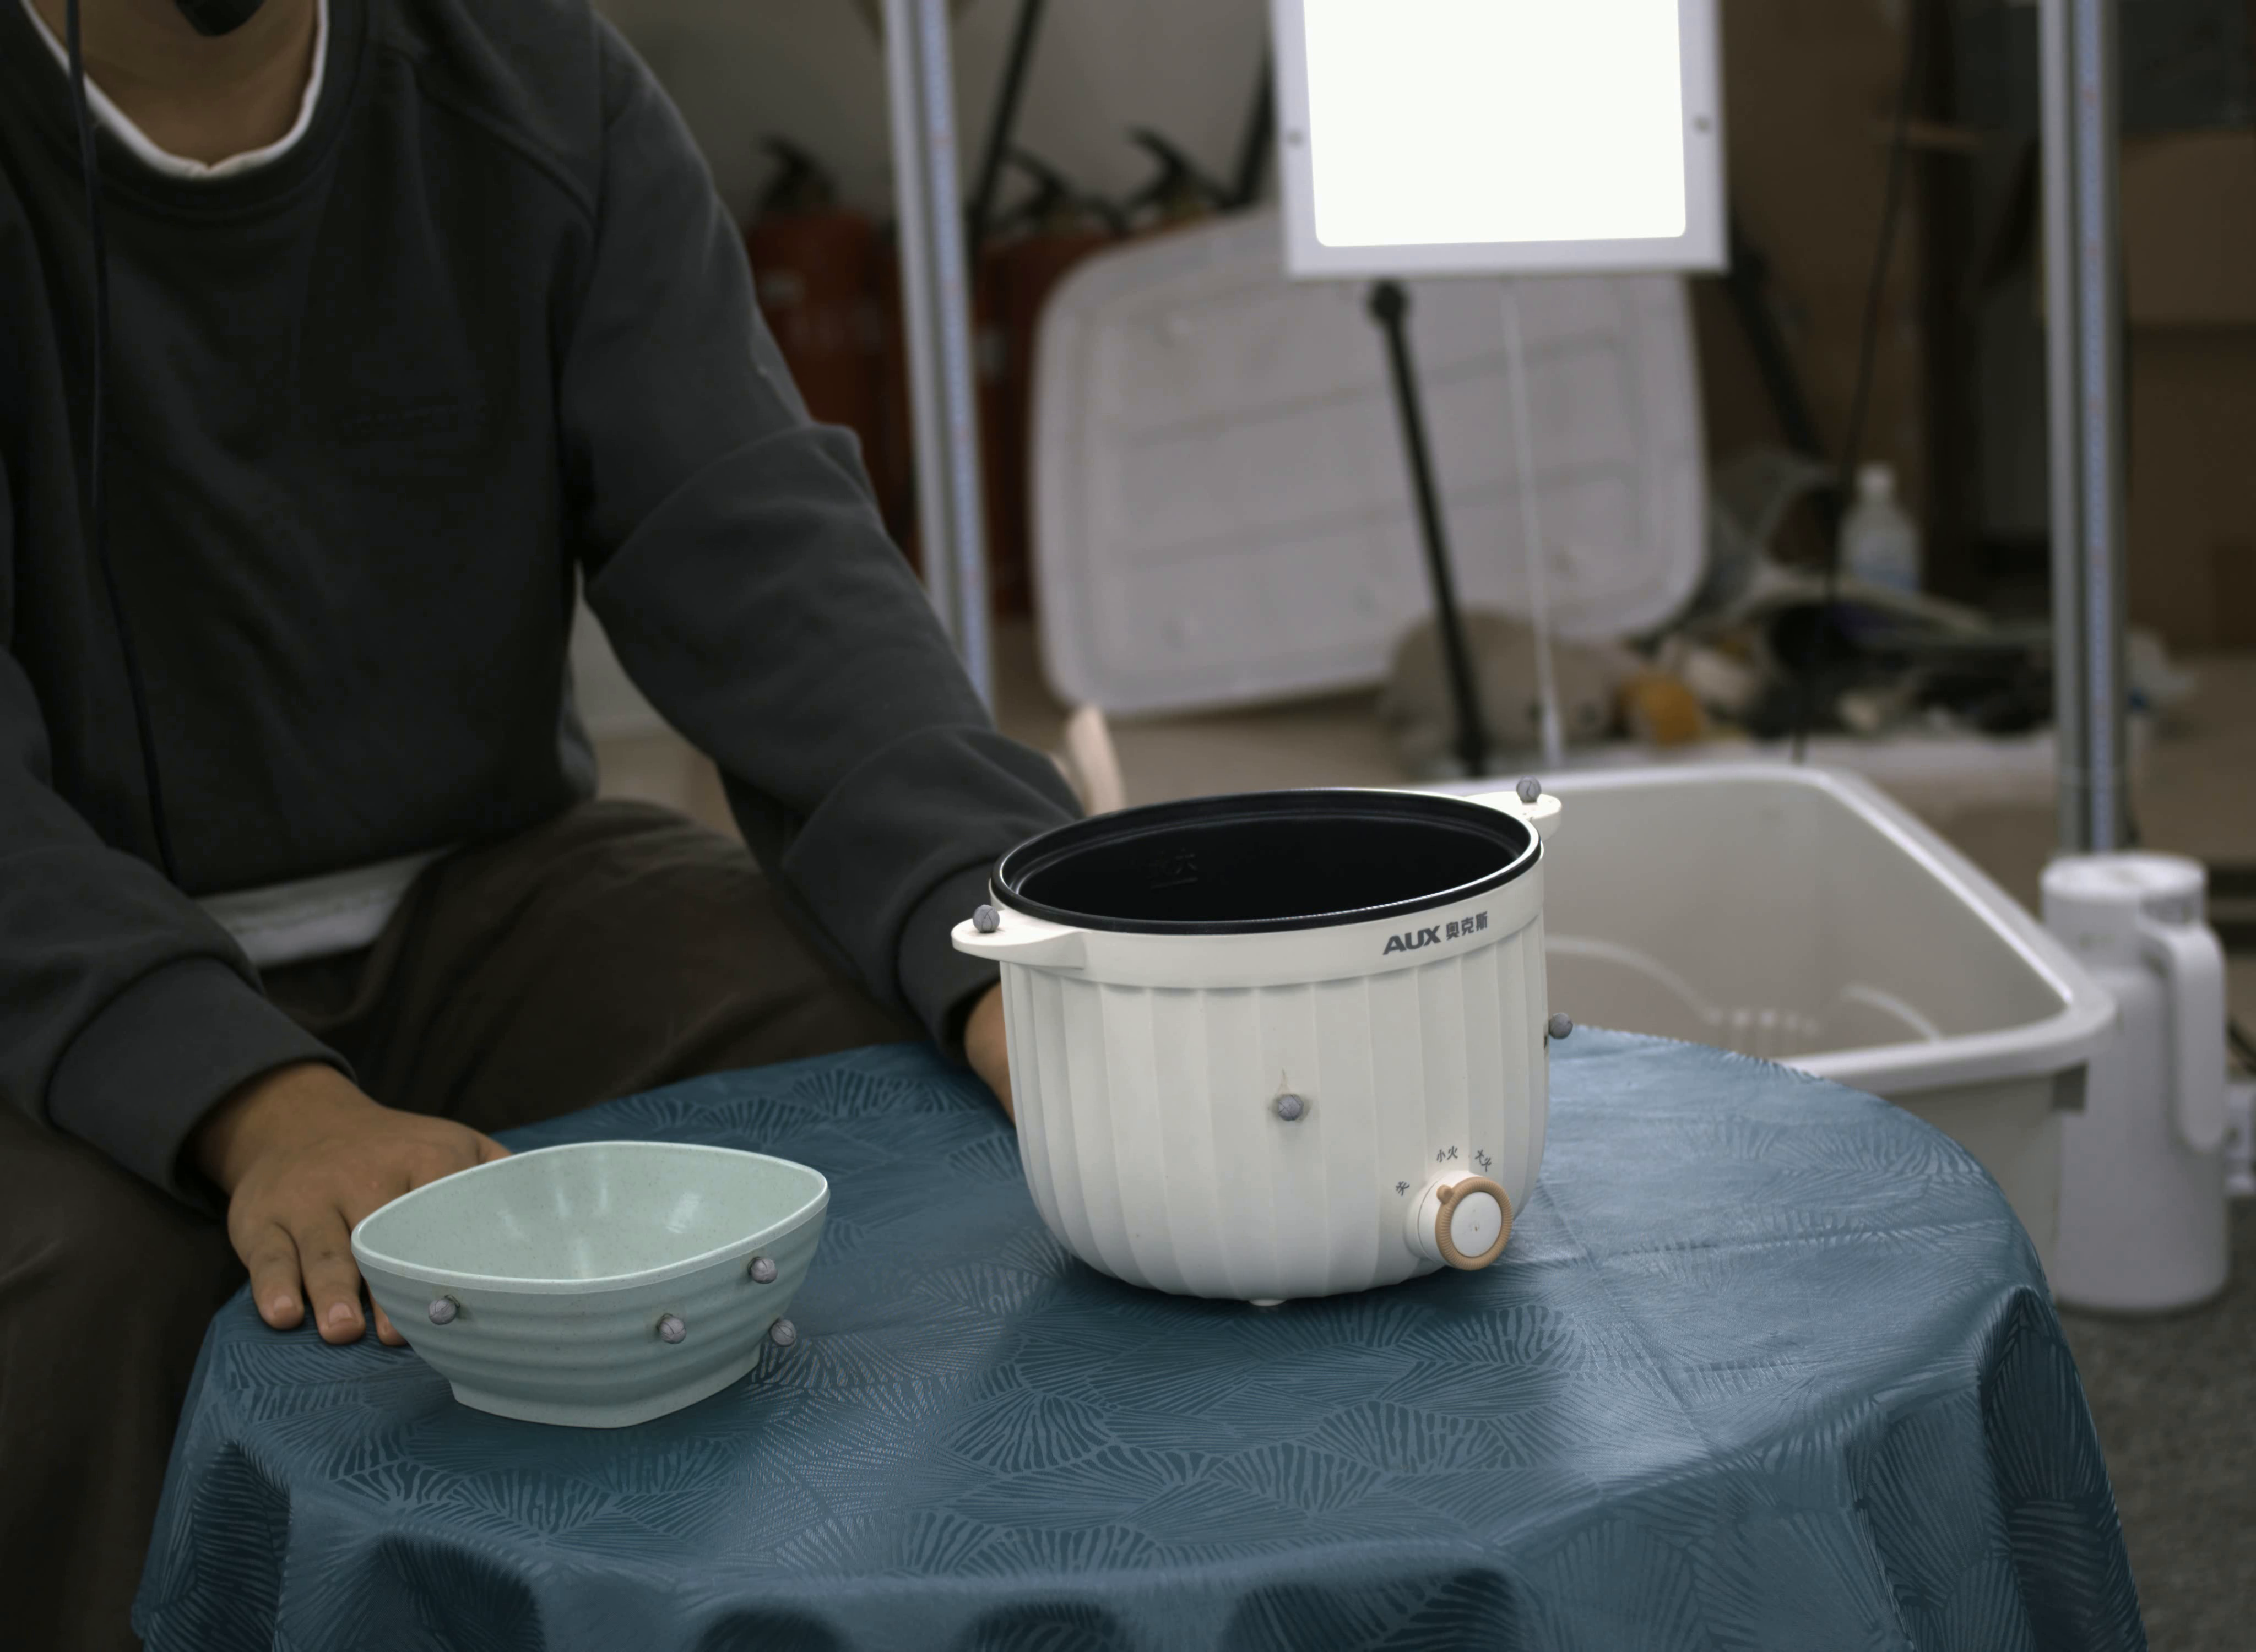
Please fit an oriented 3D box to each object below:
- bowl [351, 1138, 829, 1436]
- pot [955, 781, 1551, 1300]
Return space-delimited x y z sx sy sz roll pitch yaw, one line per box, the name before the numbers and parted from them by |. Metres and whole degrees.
bowl | -0.168 0.149 1.747 0.151 0.059 0.151 -4 15 0
pot | 0.054 0.071 1.806 0.234 0.143 0.194 -16 14 -33
